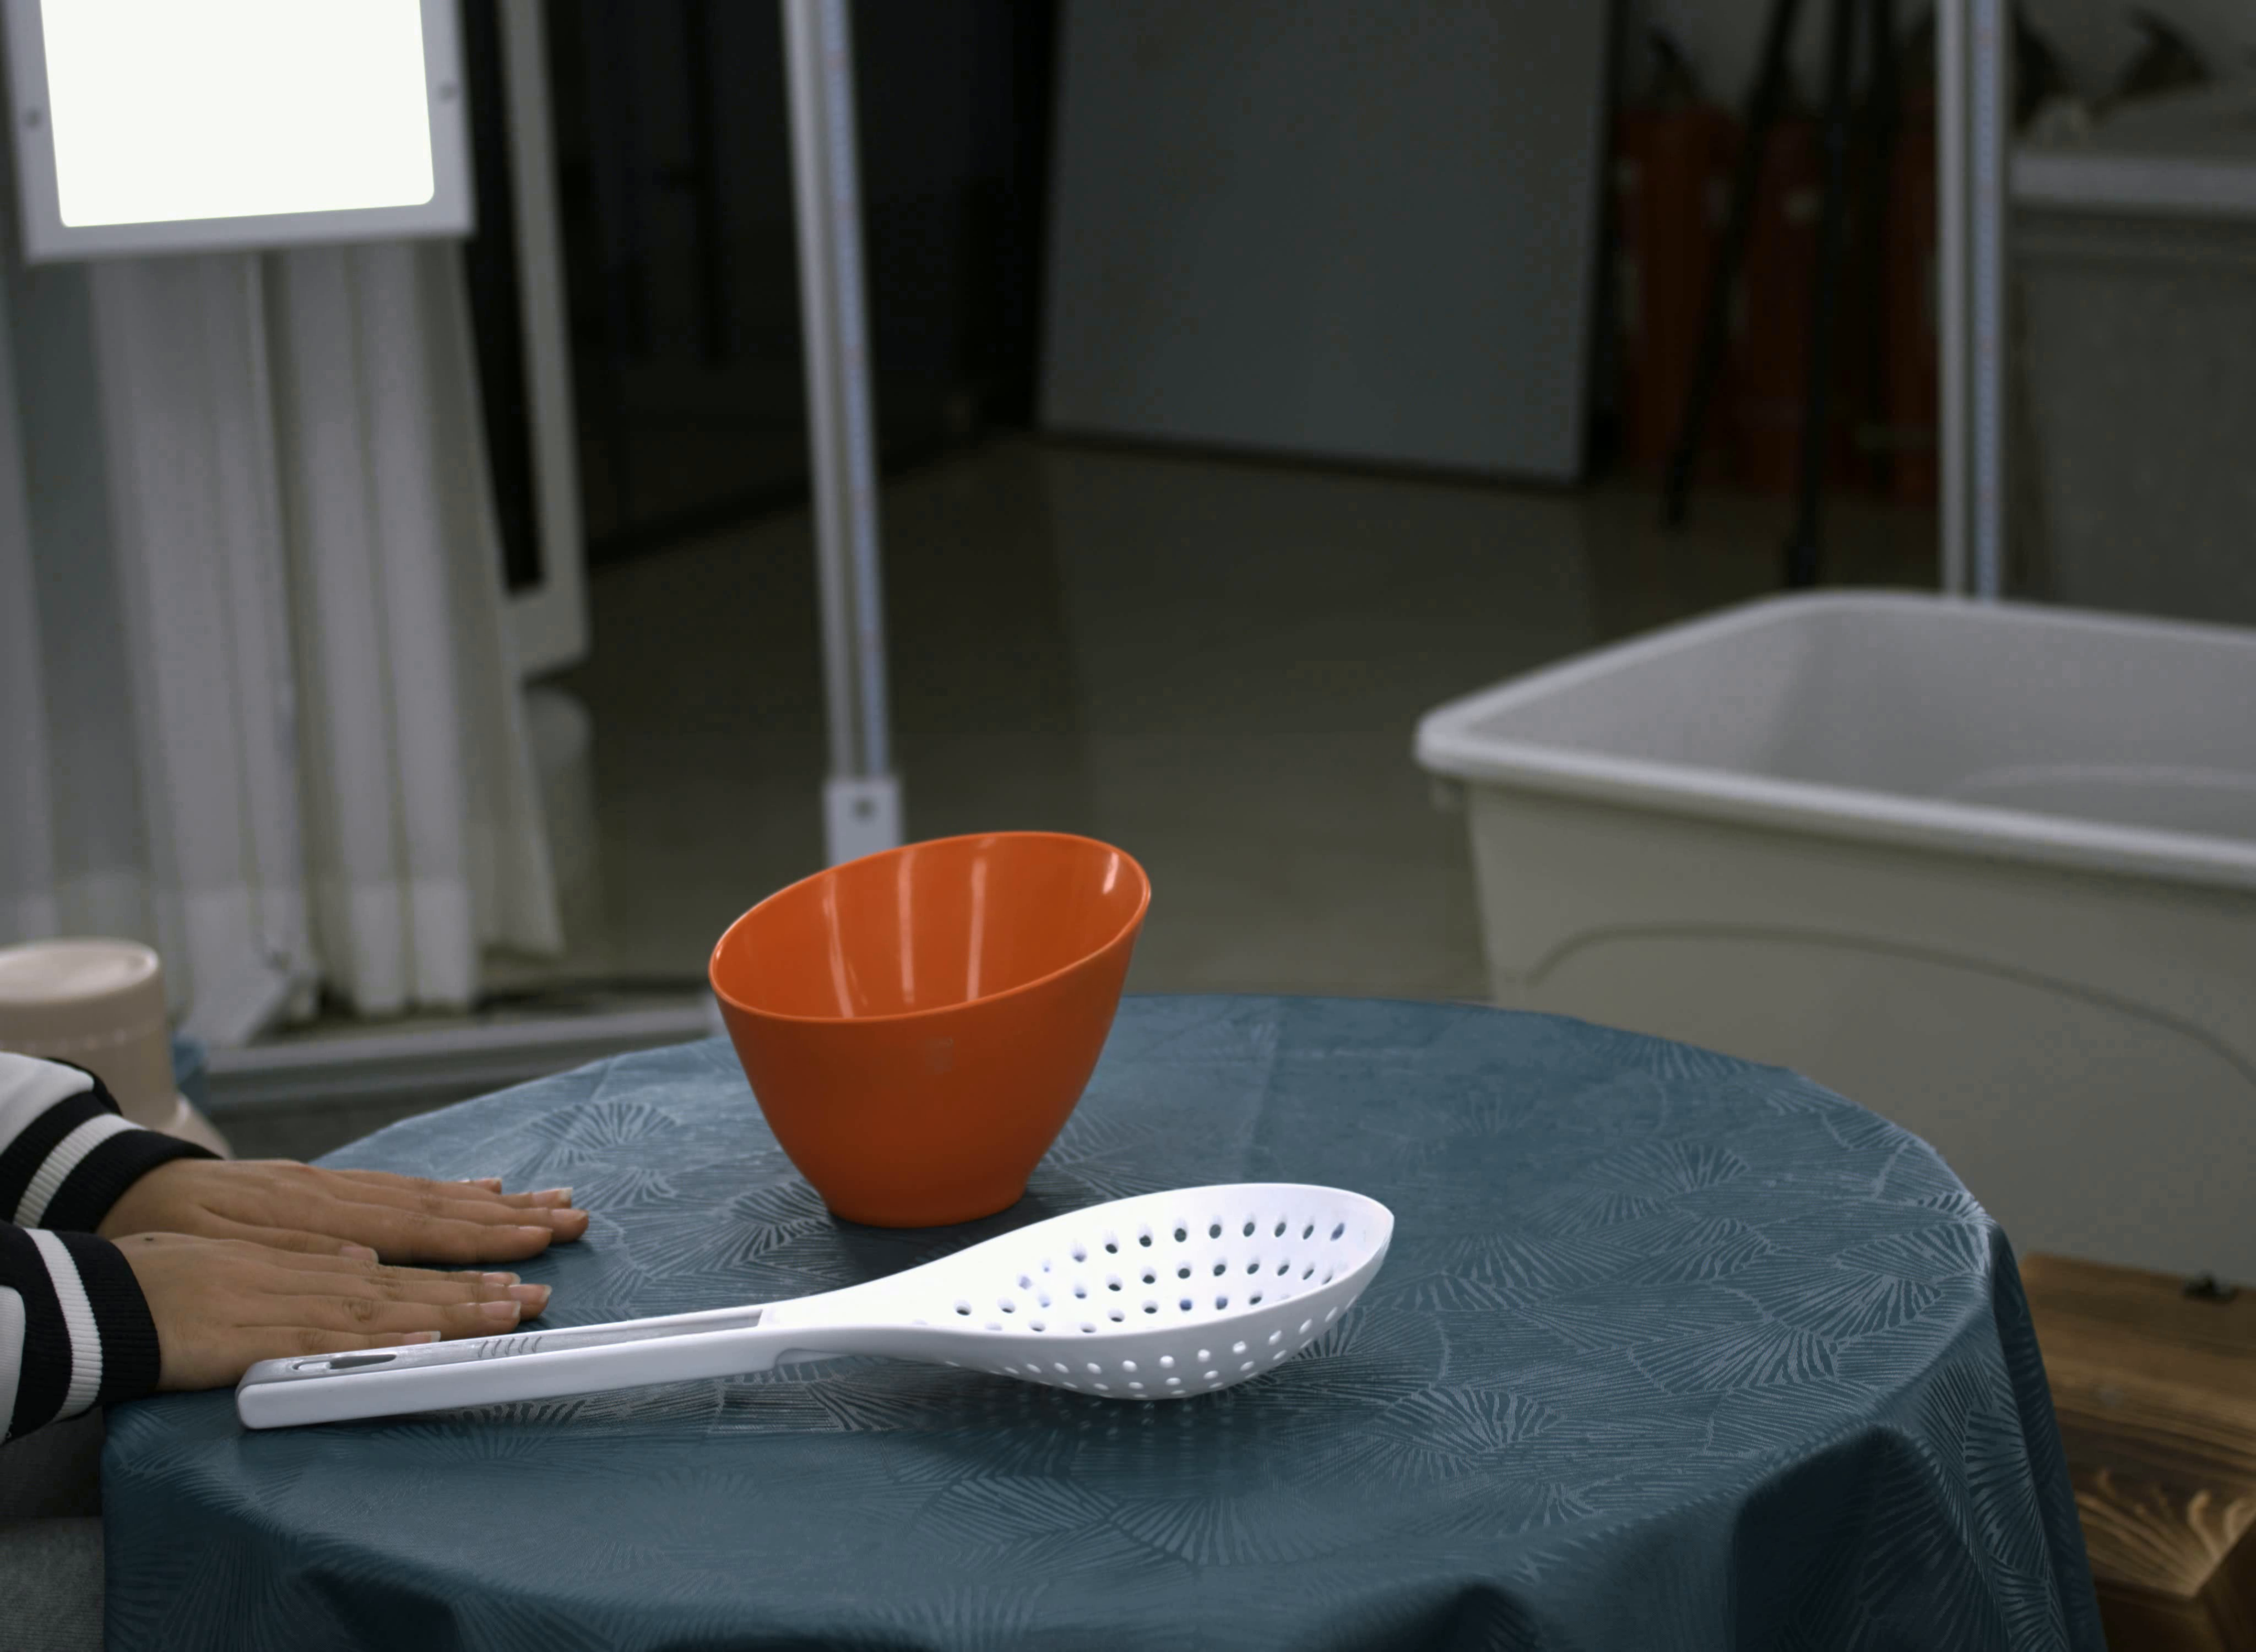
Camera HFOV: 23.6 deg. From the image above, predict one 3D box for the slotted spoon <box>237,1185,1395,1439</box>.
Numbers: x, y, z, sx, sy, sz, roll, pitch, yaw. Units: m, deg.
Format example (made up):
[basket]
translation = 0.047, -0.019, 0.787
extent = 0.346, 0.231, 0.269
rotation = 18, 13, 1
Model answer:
[slotted spoon]
translation = -0.092, 0.149, 1.591
extent = 0.346, 0.046, 0.136
rotation = -4, 12, 6

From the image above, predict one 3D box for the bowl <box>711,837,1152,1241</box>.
[bowl]
translation = -0.061, 0.073, 1.773
extent = 0.146, 0.106, 0.148
rotation = -4, 15, 0
